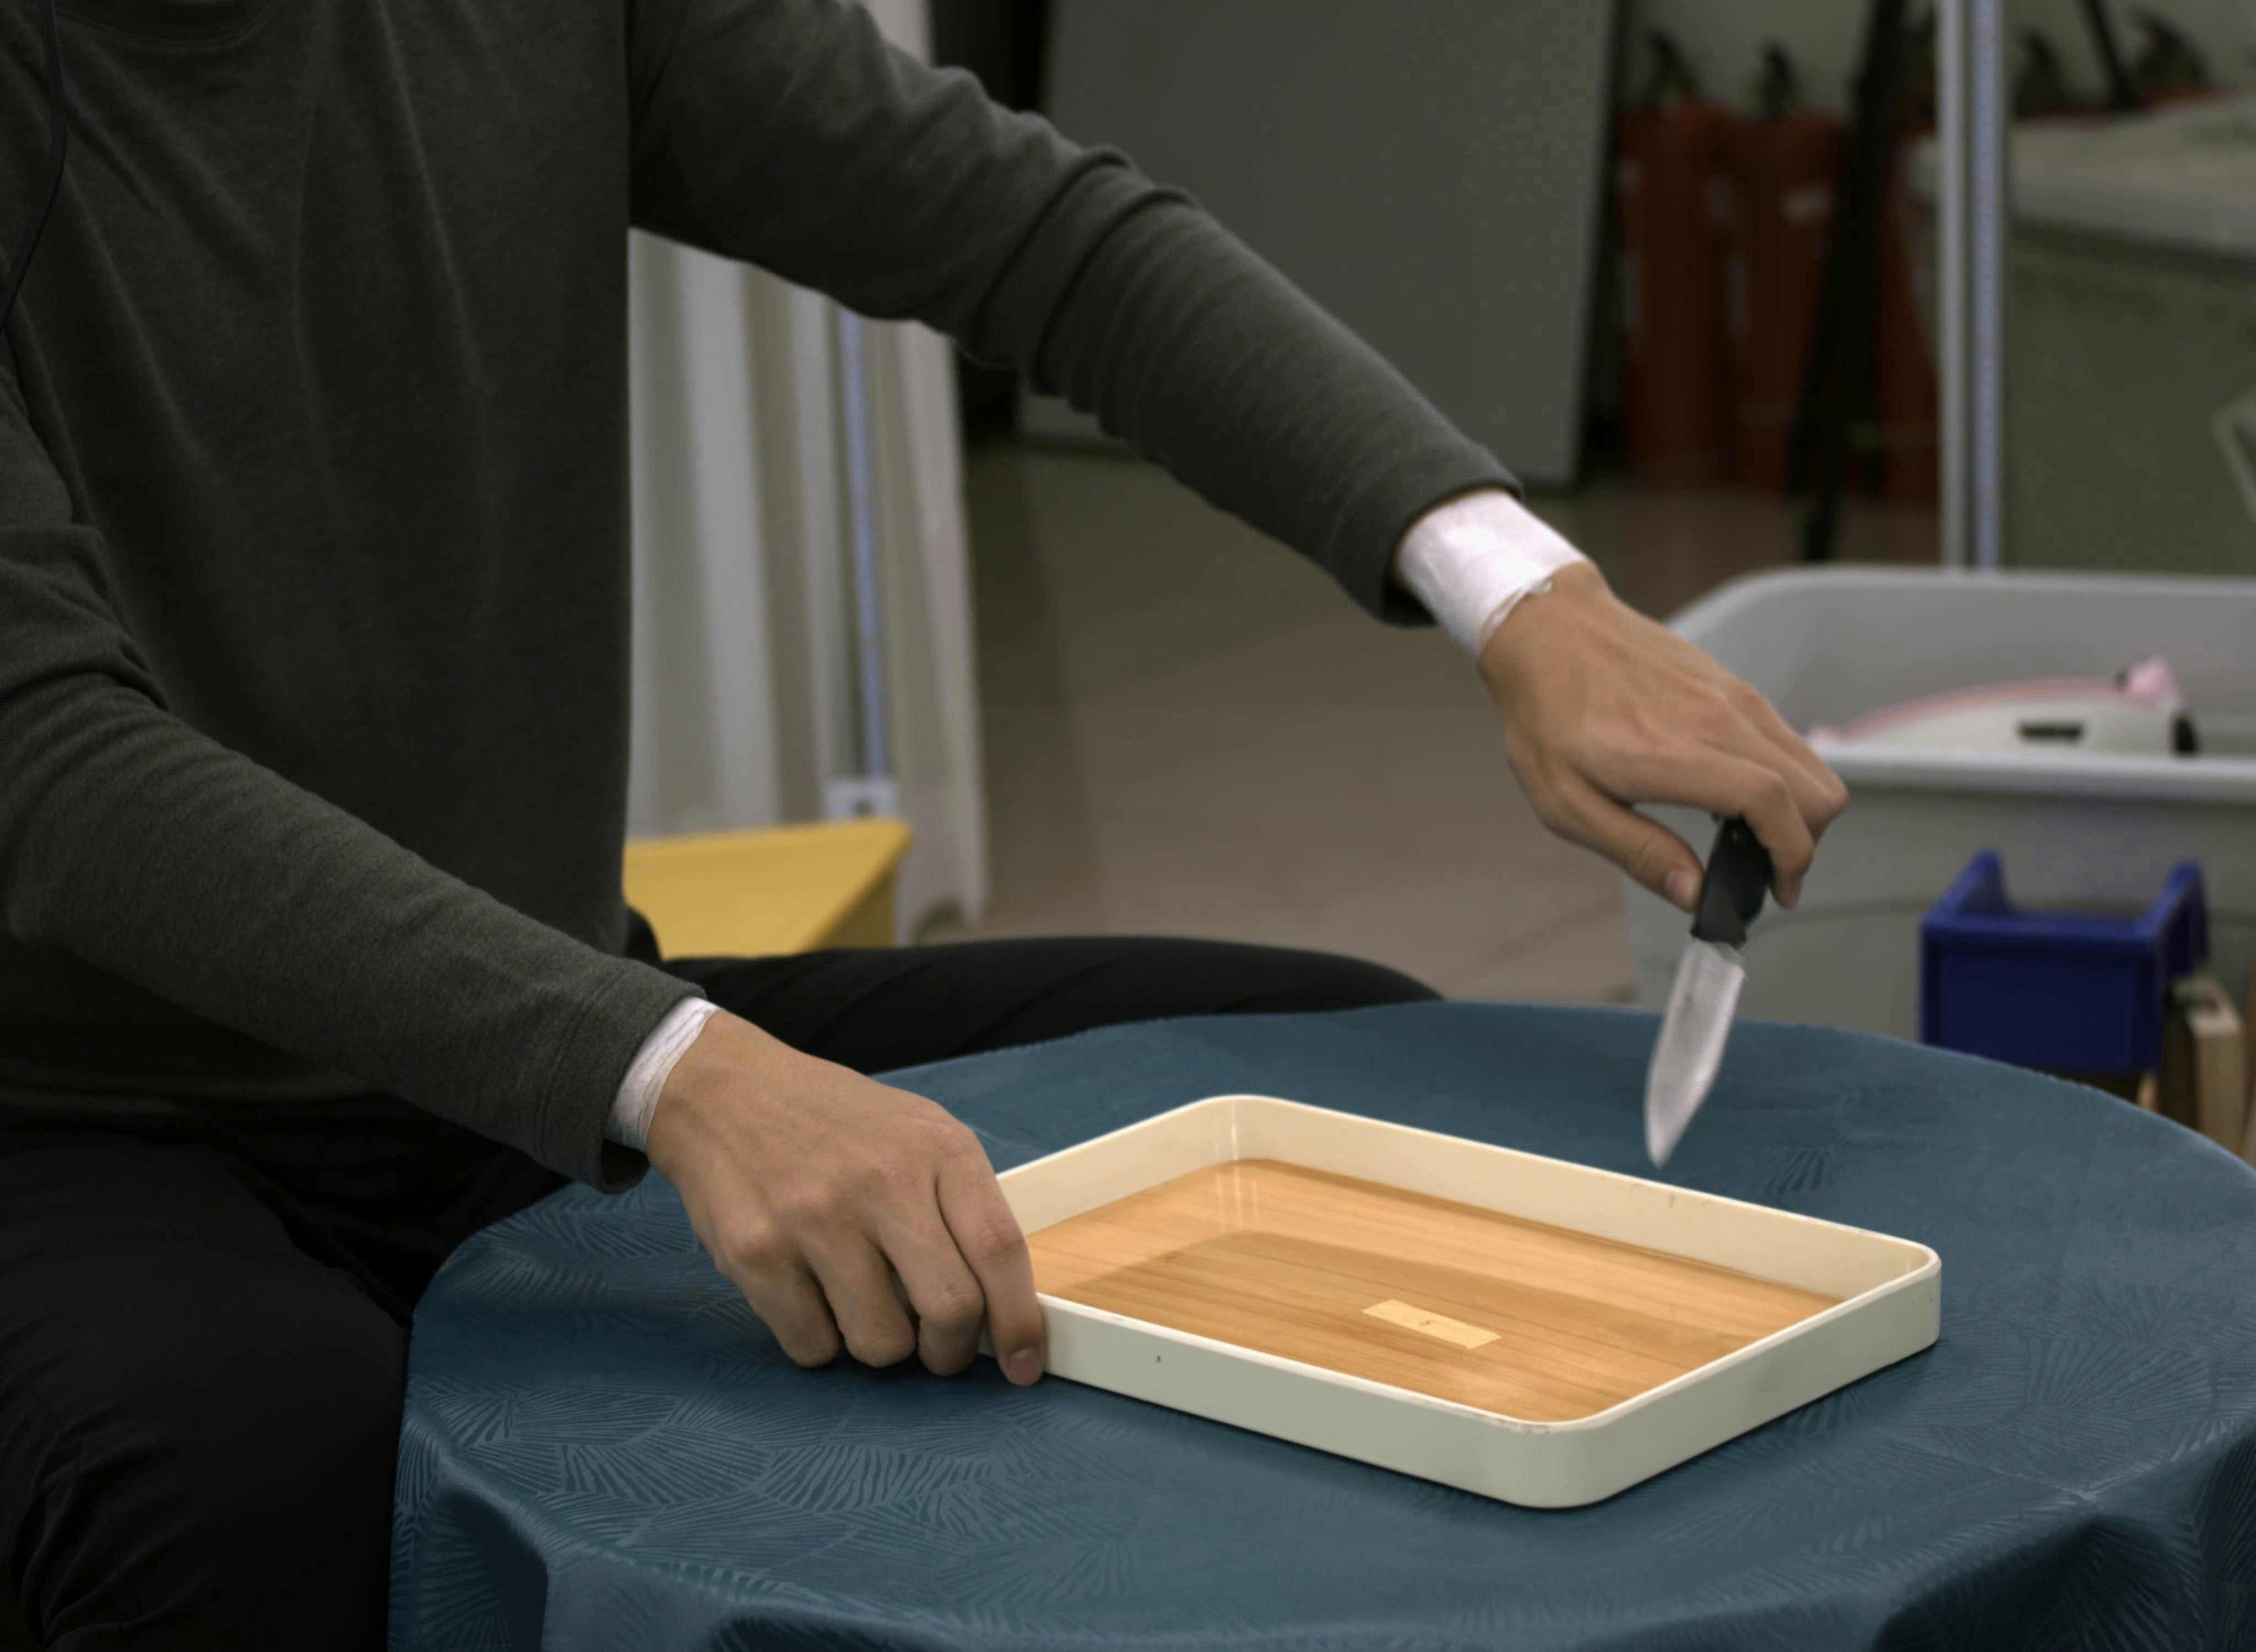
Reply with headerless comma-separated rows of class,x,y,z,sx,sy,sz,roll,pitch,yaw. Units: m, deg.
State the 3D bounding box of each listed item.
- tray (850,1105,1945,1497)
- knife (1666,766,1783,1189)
tray,0.078,0.139,1.624,0.187,0.028,0.303,-15,17,-42
knife,0.193,0.047,1.756,0.024,0.016,0.238,11,35,6
